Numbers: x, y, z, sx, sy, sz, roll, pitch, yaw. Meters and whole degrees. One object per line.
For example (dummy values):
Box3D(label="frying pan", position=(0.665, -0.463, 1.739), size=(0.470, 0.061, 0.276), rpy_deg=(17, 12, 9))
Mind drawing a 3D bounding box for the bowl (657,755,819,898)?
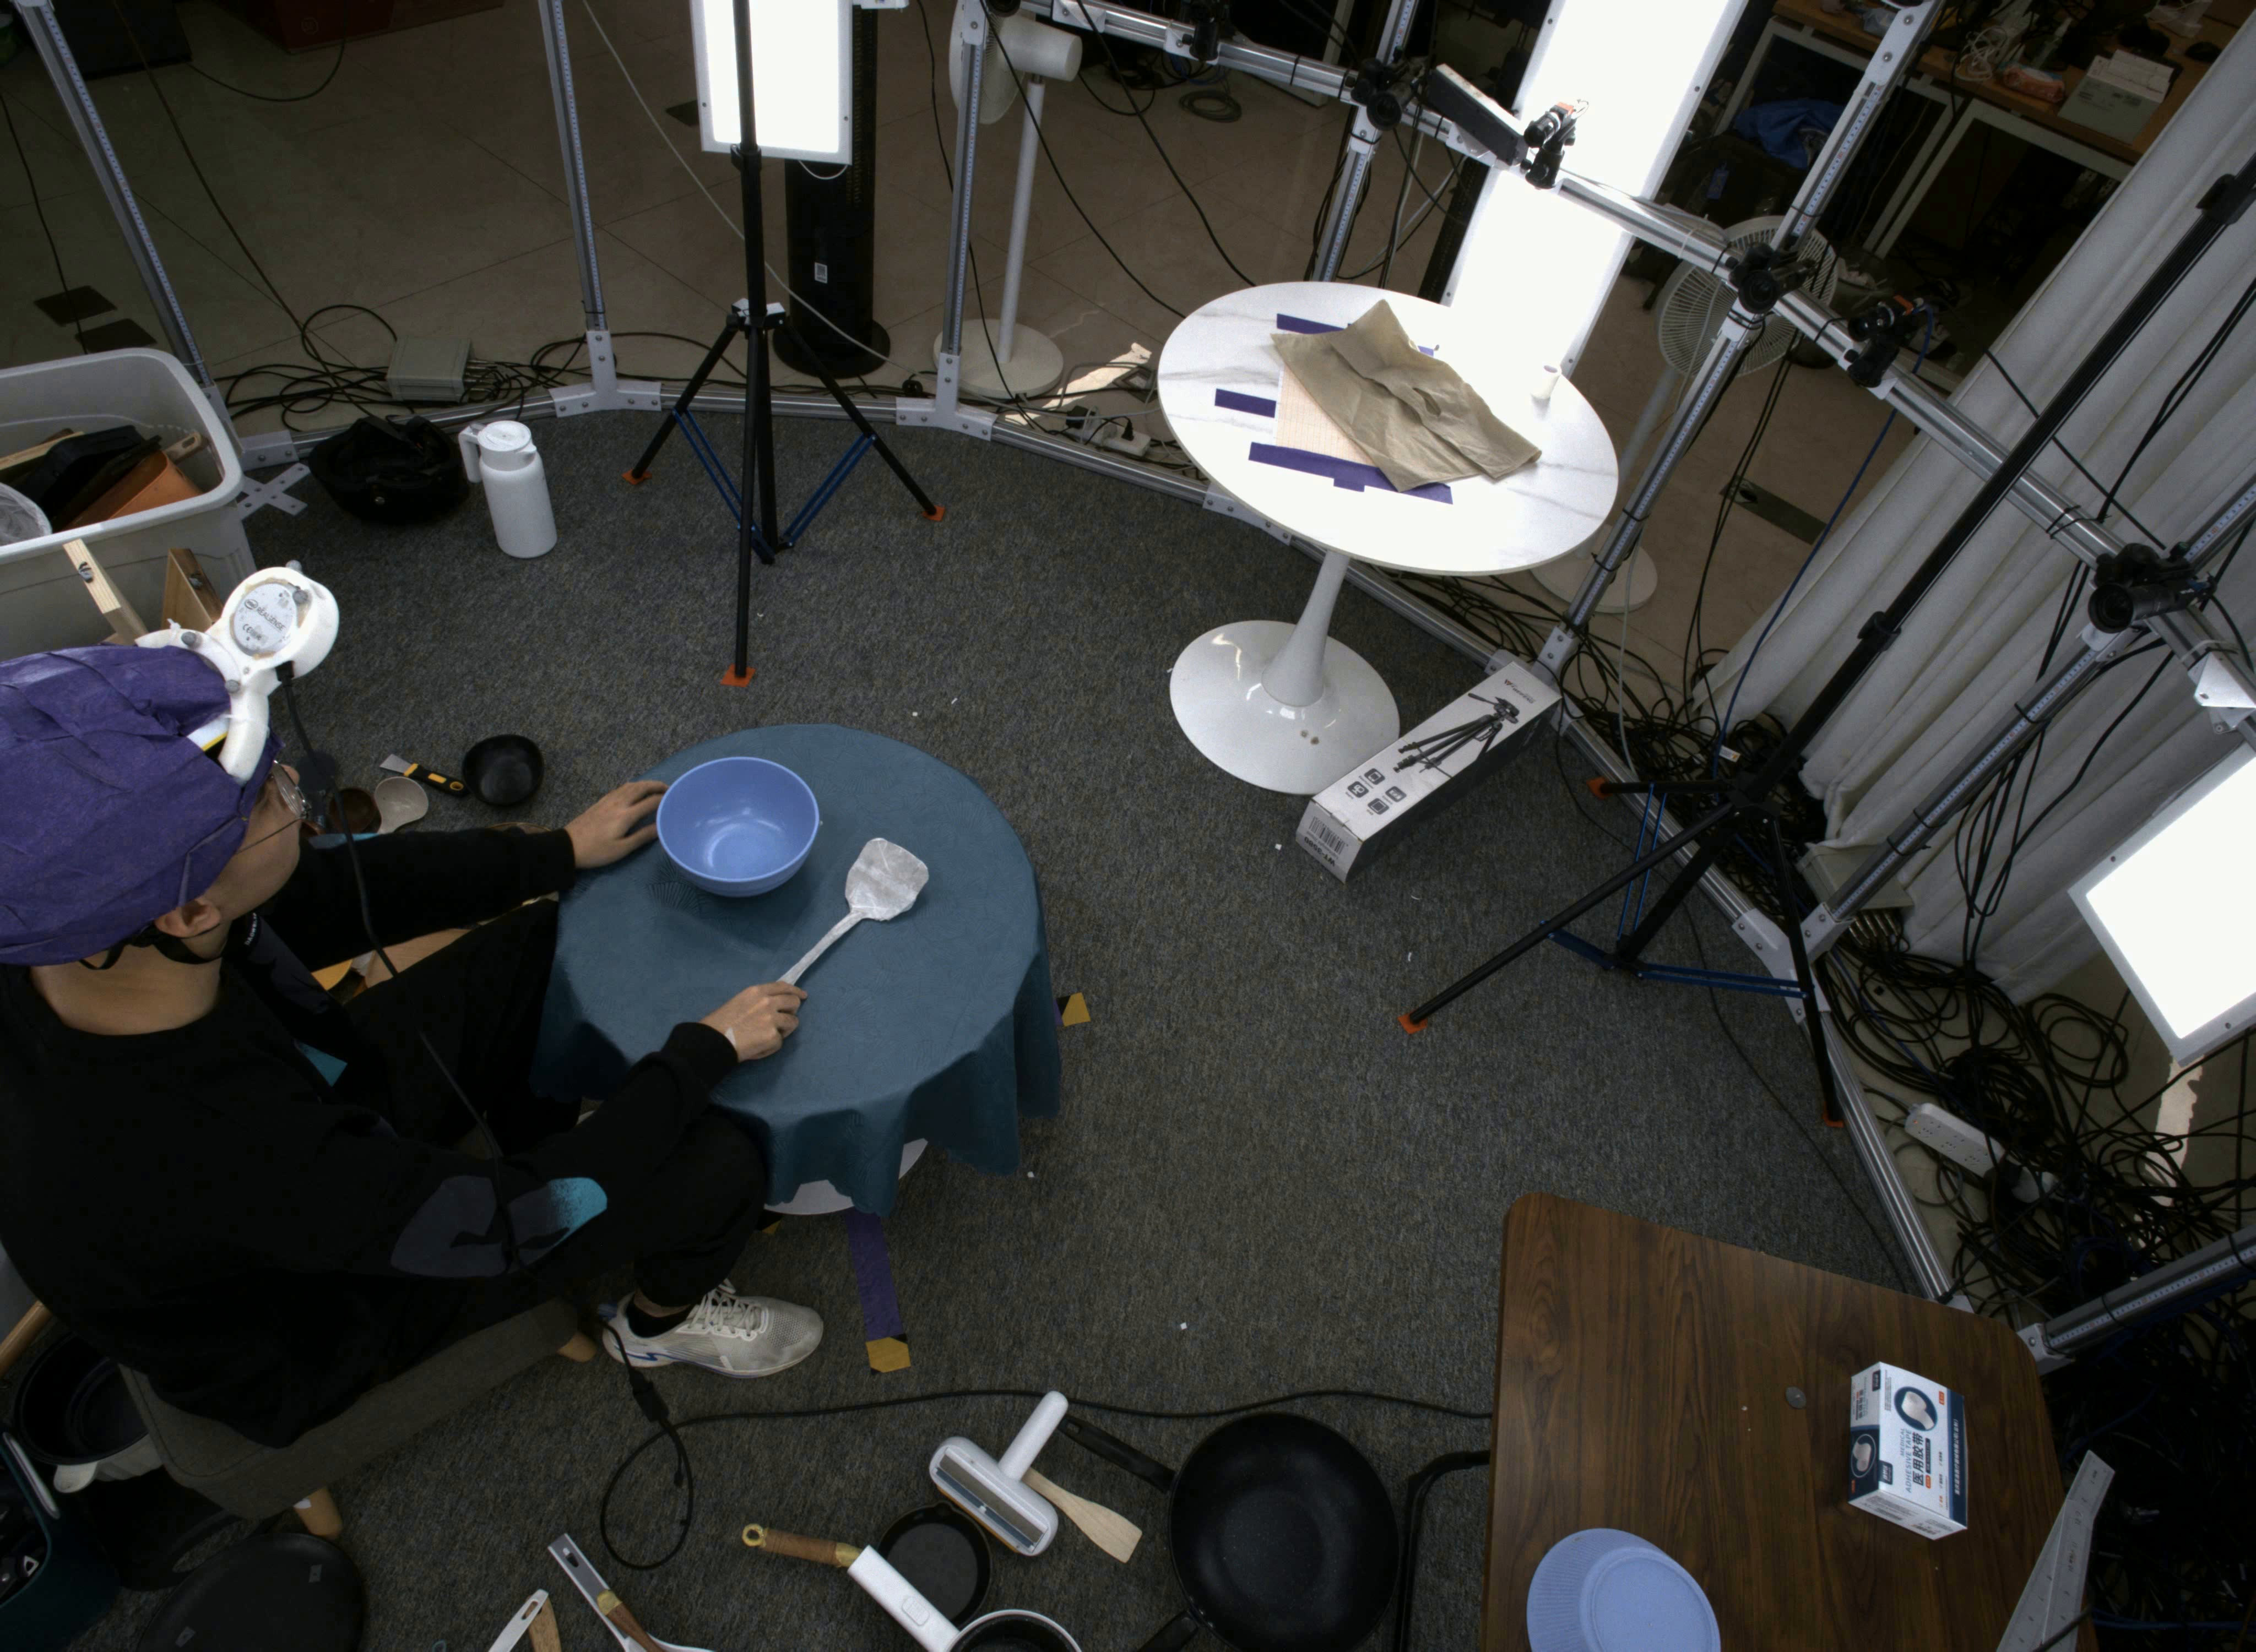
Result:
Box3D(label="bowl", position=(-0.492, 0.015, 1.639), size=(0.196, 0.097, 0.193), rpy_deg=(8, 52, -9))

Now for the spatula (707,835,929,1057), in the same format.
Box3D(label="spatula", position=(-0.387, 0.149, 1.602), size=(0.097, 0.045, 0.364), rpy_deg=(34, 53, 10))
